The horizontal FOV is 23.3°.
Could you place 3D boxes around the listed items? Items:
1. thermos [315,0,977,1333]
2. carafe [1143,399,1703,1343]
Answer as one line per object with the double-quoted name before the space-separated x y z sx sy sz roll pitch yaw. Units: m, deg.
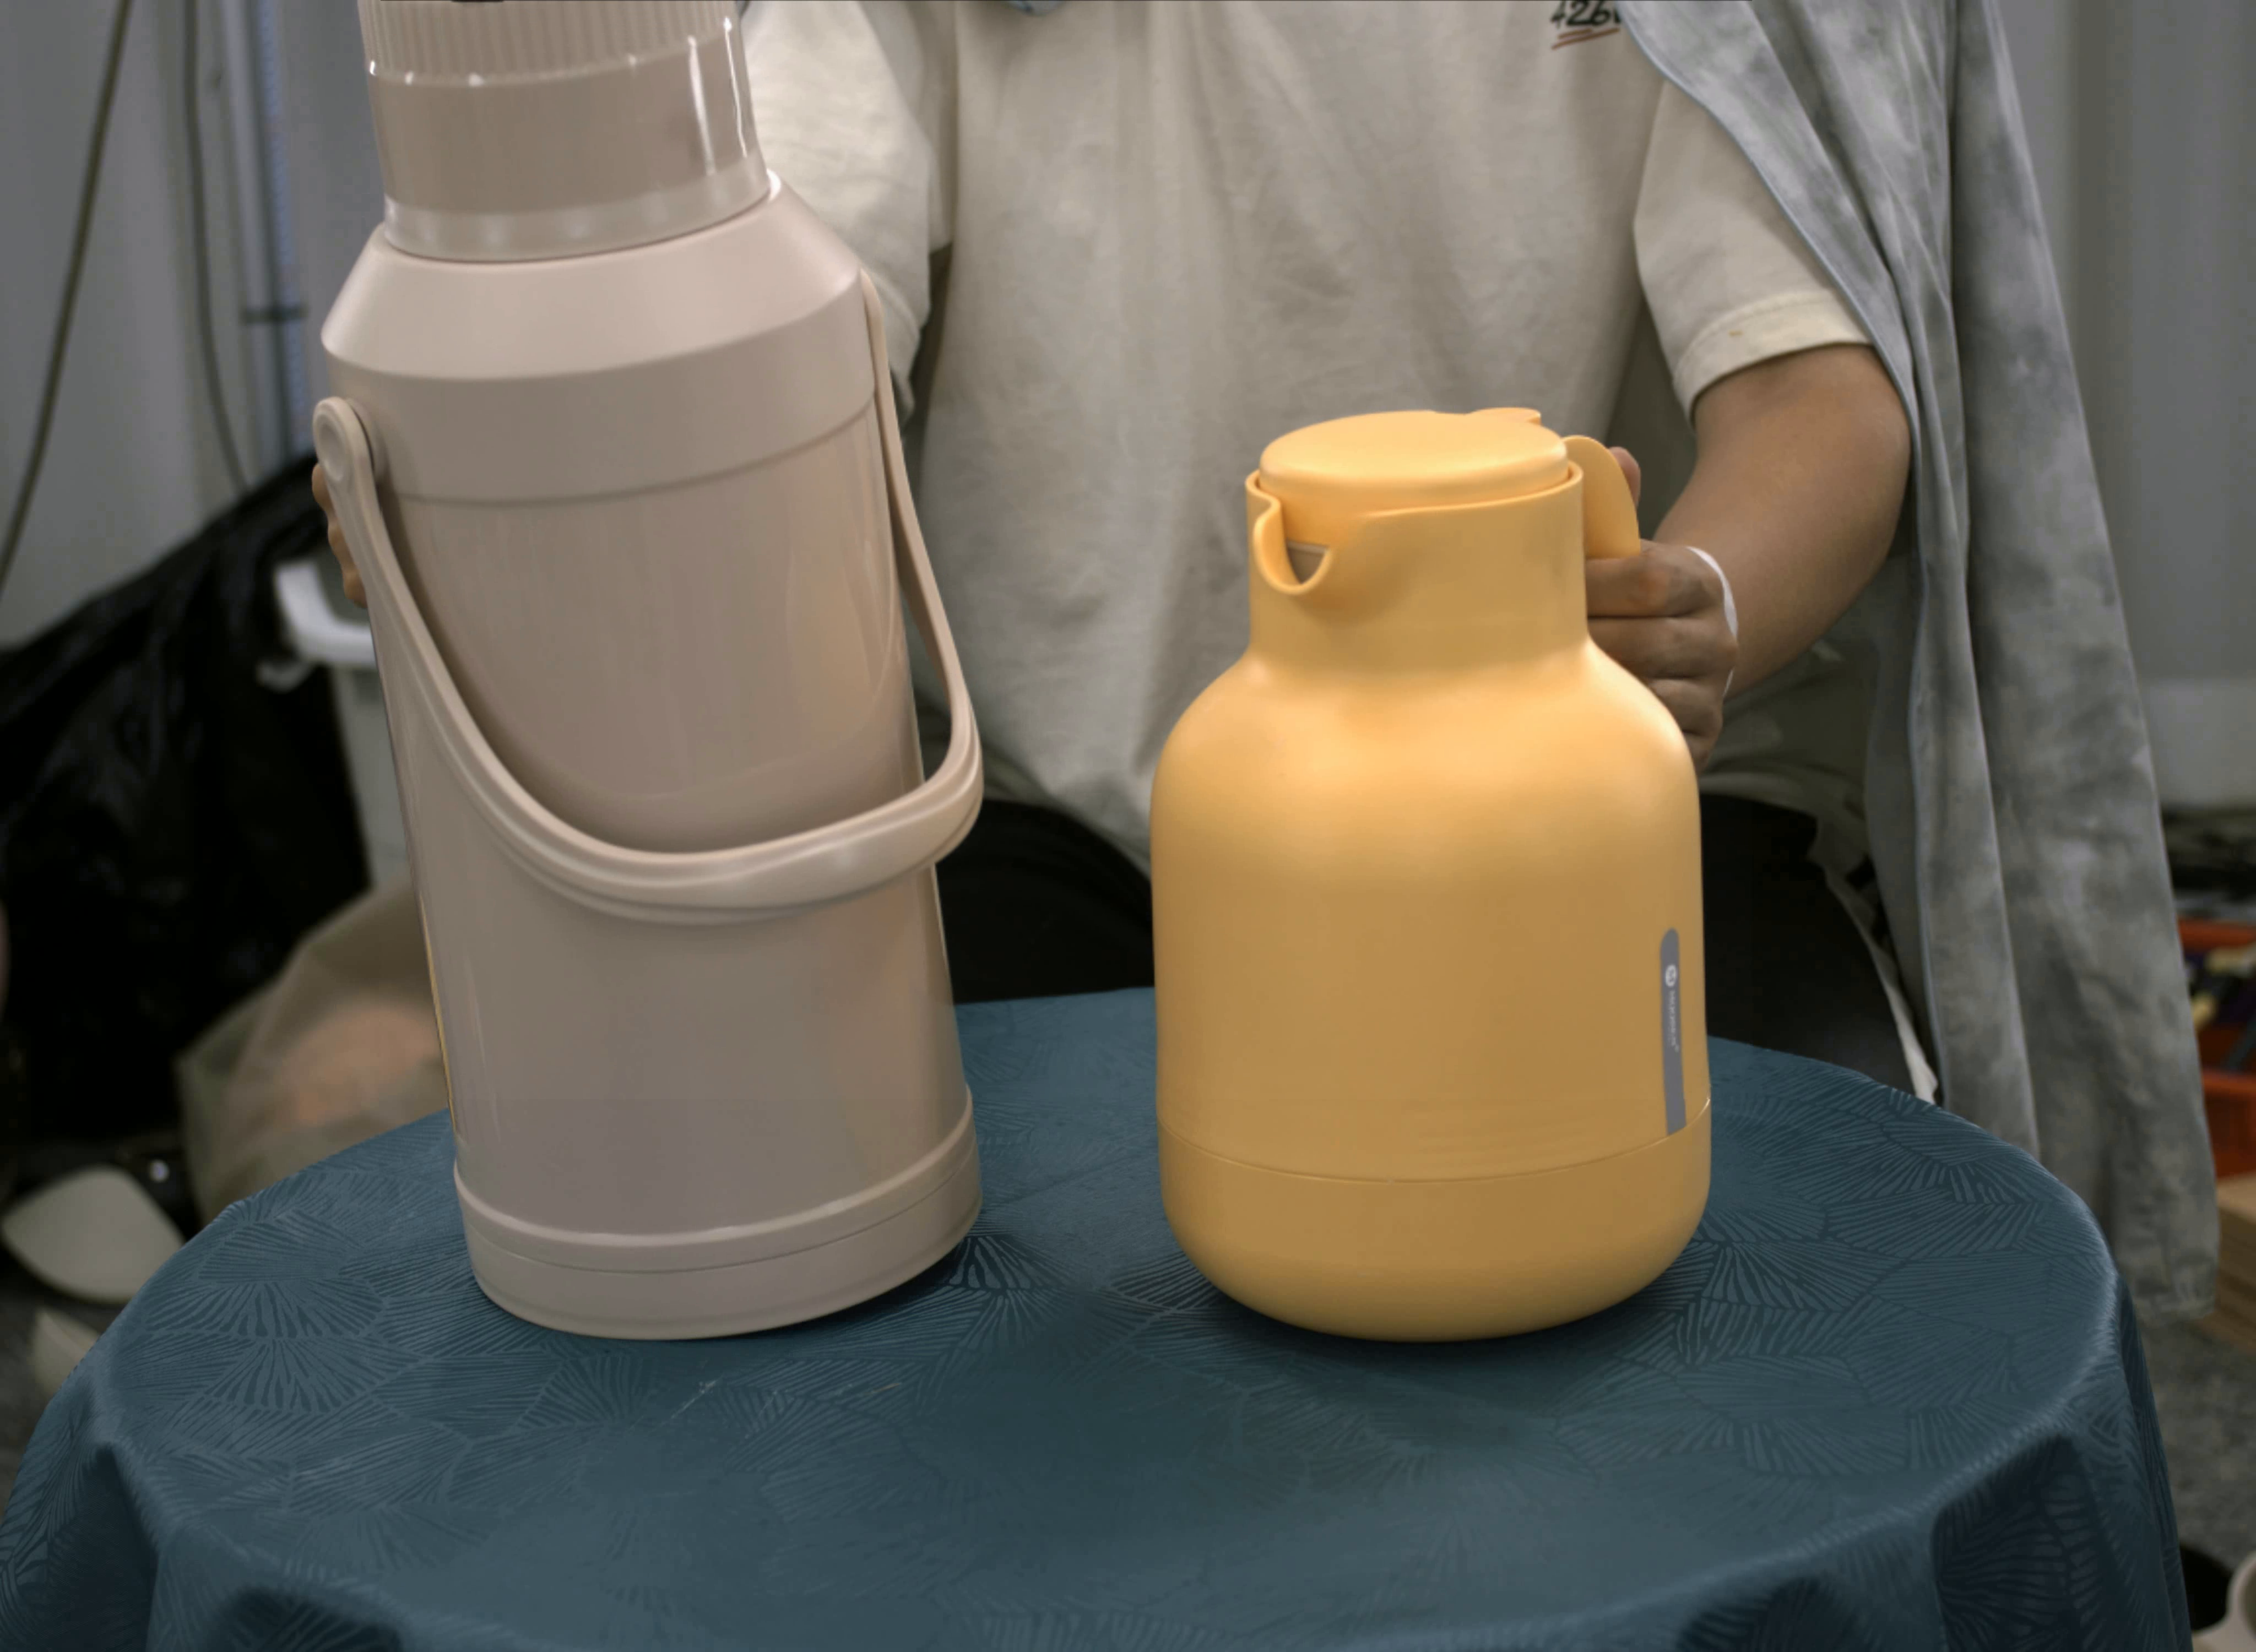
"thermos" -0.151 -0.067 1.627 0.175 0.403 0.209 -18 23 -28
"carafe" 0.096 0.005 1.609 0.164 0.259 0.202 9 19 32
